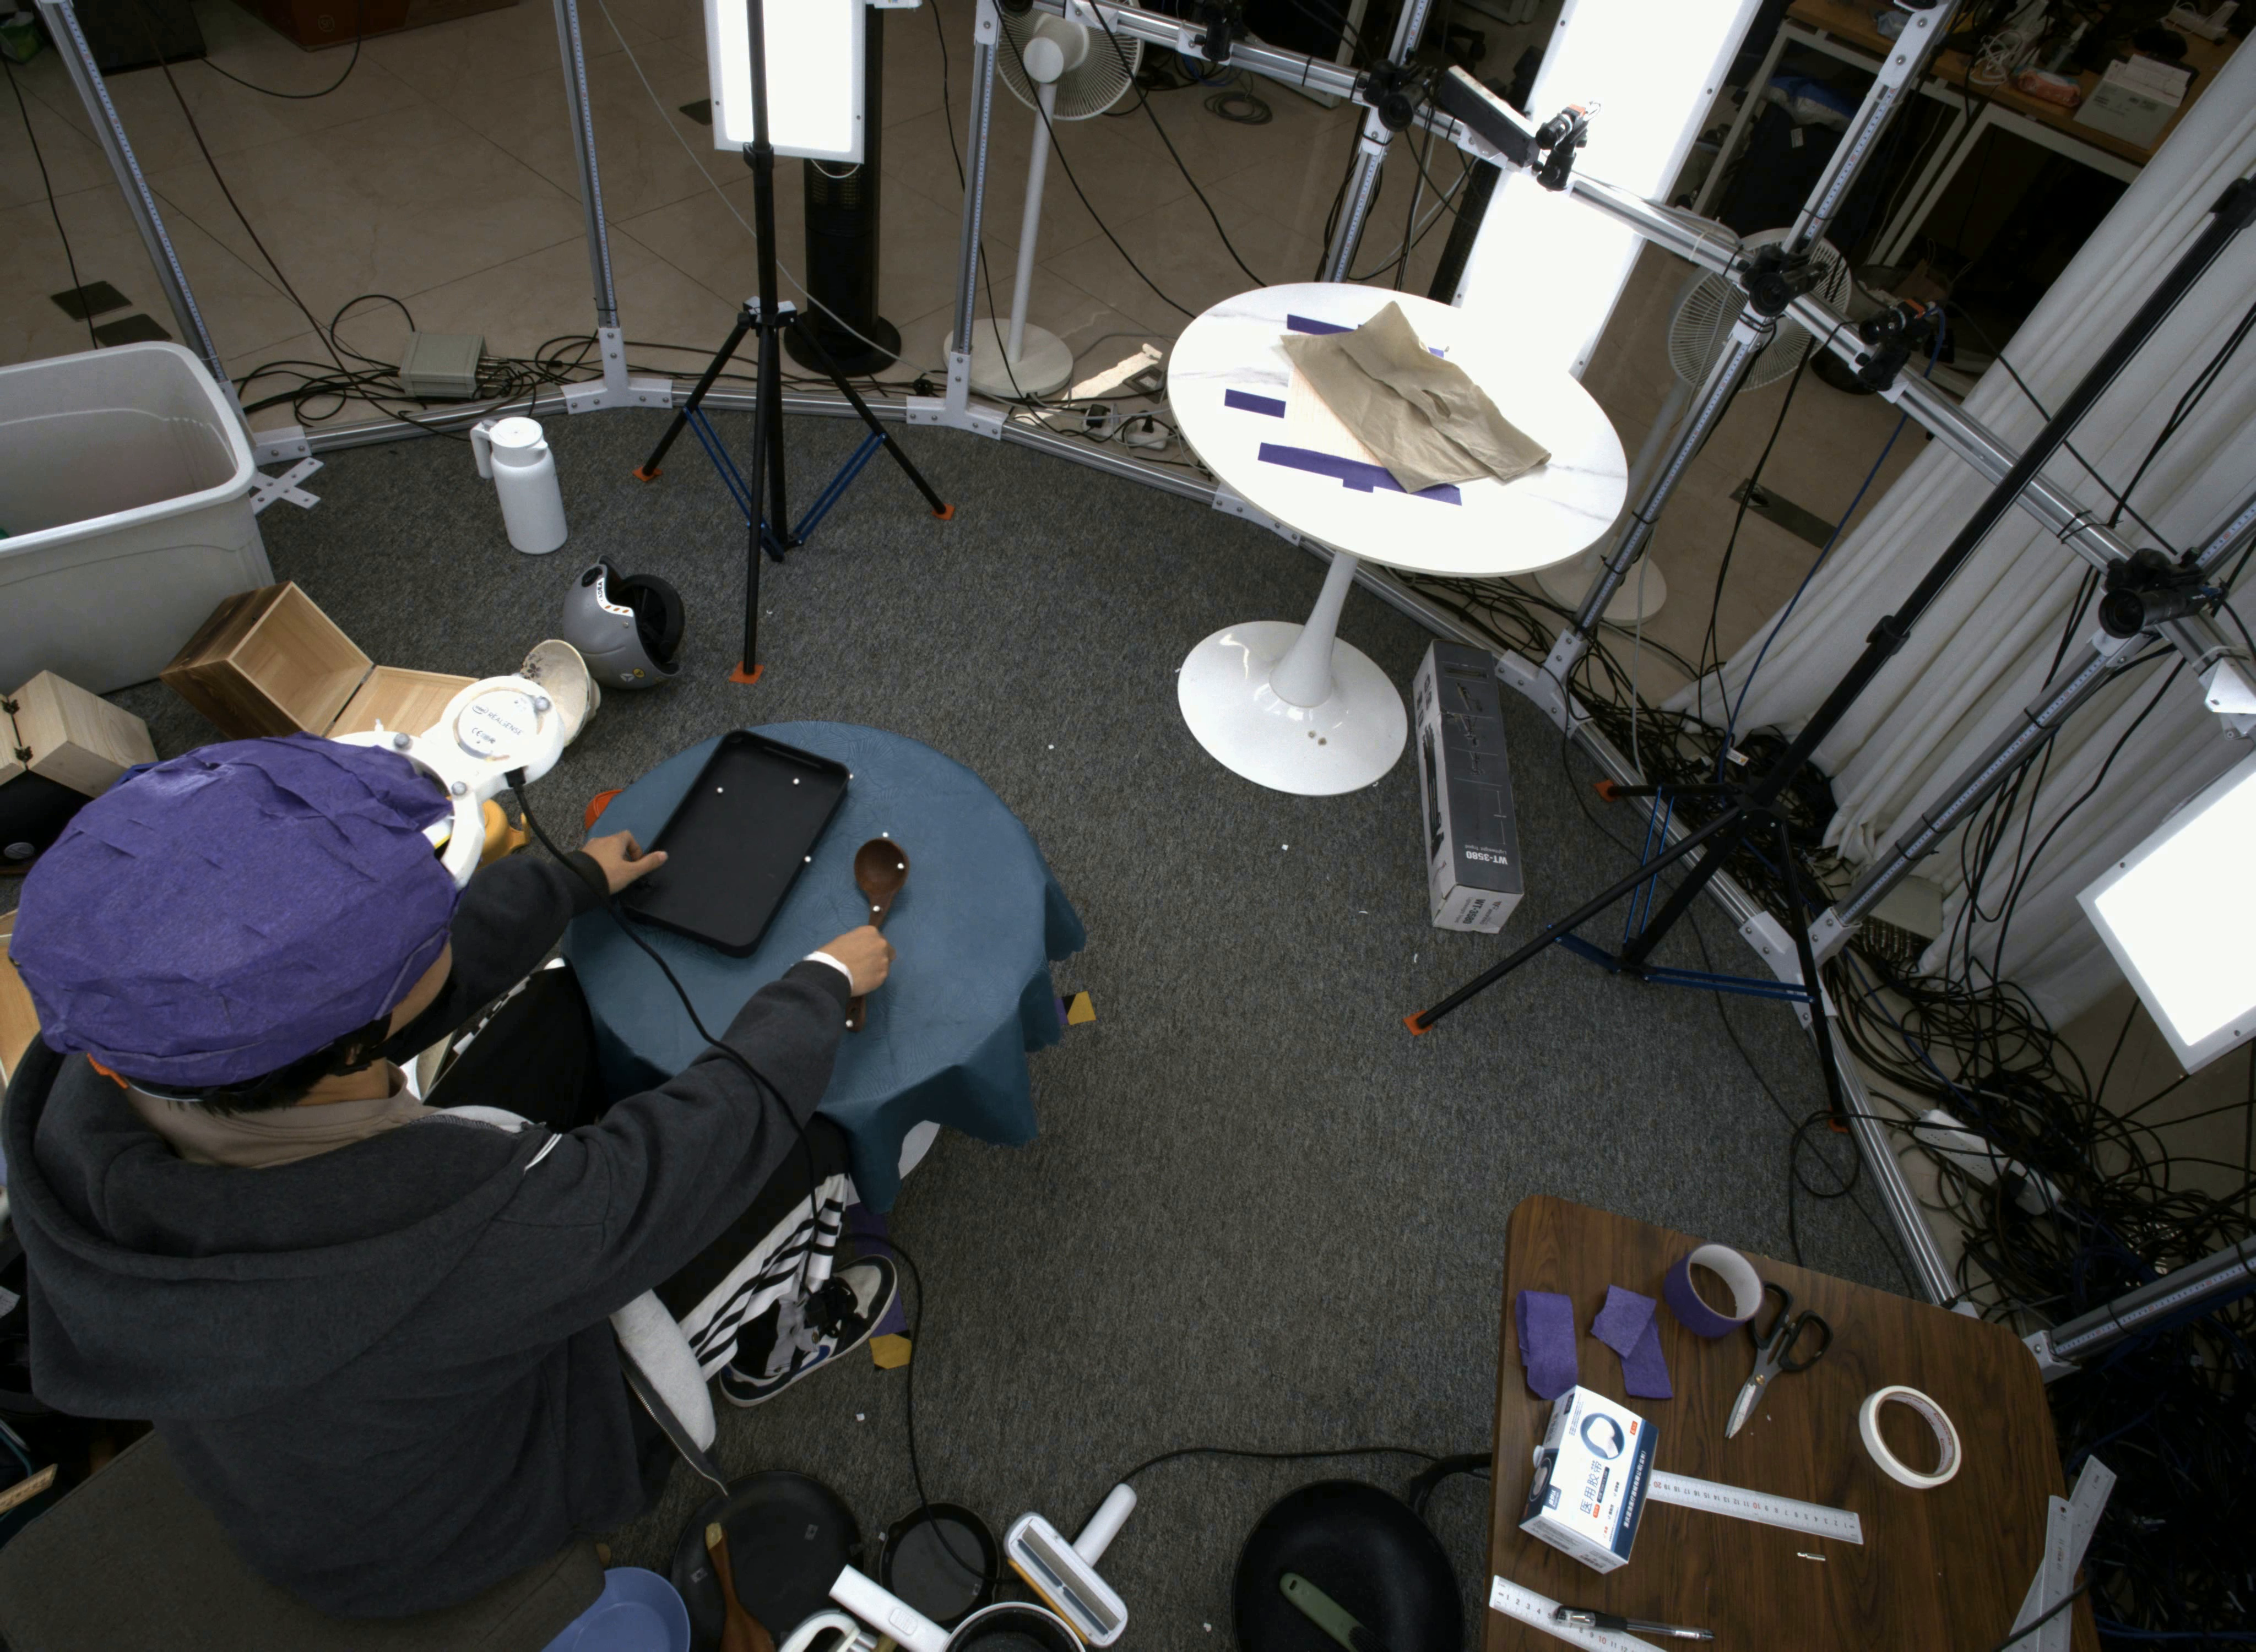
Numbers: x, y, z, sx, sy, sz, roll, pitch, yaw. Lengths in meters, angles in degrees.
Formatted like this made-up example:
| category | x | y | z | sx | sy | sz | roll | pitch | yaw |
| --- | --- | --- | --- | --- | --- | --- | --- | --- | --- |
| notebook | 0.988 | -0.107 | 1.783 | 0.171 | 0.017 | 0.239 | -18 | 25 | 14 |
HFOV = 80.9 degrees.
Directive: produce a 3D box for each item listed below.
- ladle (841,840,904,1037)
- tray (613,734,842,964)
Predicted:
| category | x | y | z | sx | sy | sz | roll | pitch | yaw |
| --- | --- | --- | --- | --- | --- | --- | --- | --- | --- |
| ladle | -0.331 | 0.133 | 1.613 | 0.075 | 0.067 | 0.256 | -6 | 51 | 16 |
| tray | -0.510 | 0.021 | 1.664 | 0.182 | 0.038 | 0.314 | 20 | 50 | 0 |
